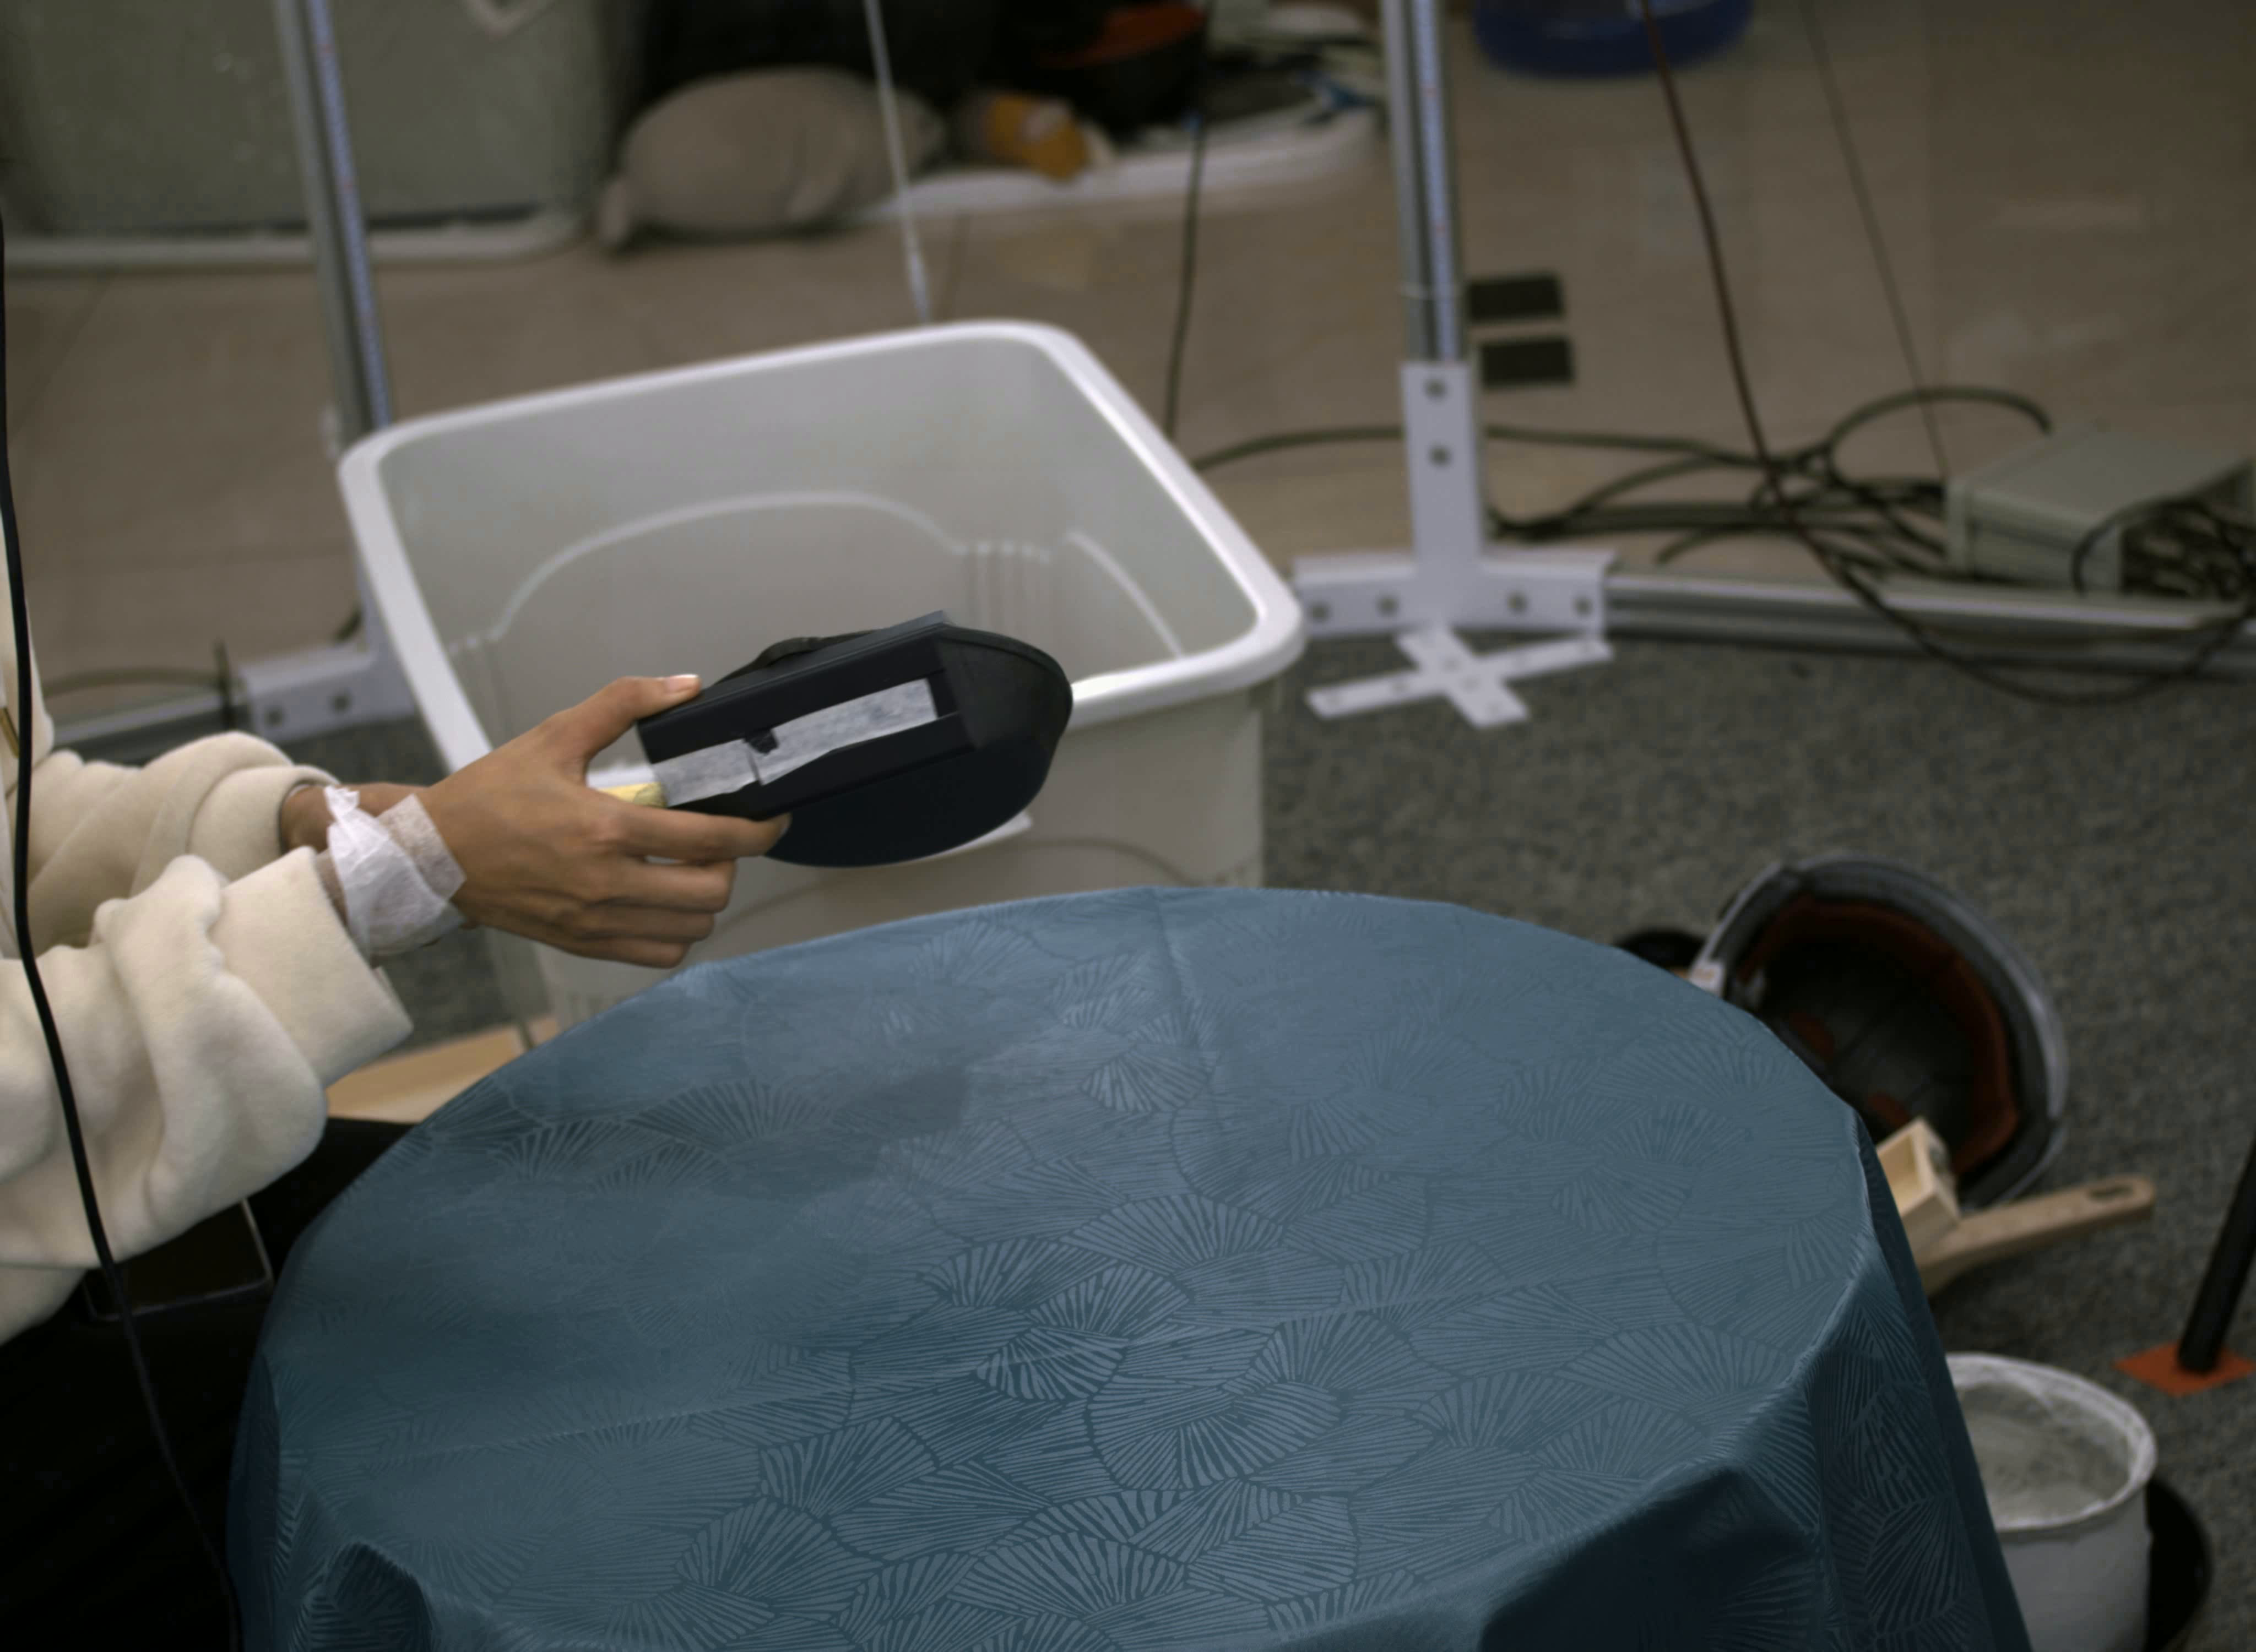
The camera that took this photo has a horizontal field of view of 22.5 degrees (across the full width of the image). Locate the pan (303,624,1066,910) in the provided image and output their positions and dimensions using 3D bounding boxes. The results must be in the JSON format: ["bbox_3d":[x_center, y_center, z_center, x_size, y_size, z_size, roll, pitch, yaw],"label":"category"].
[{"bbox_3d":[-0.176,-0.008,2.202,0.325,0.171,0.049,-18,65,18],"label":"pan"}]

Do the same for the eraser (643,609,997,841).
[{"bbox_3d":[-0.113,-0.039,2.096,0.125,0.054,0.030,-17,11,14],"label":"eraser"}]
